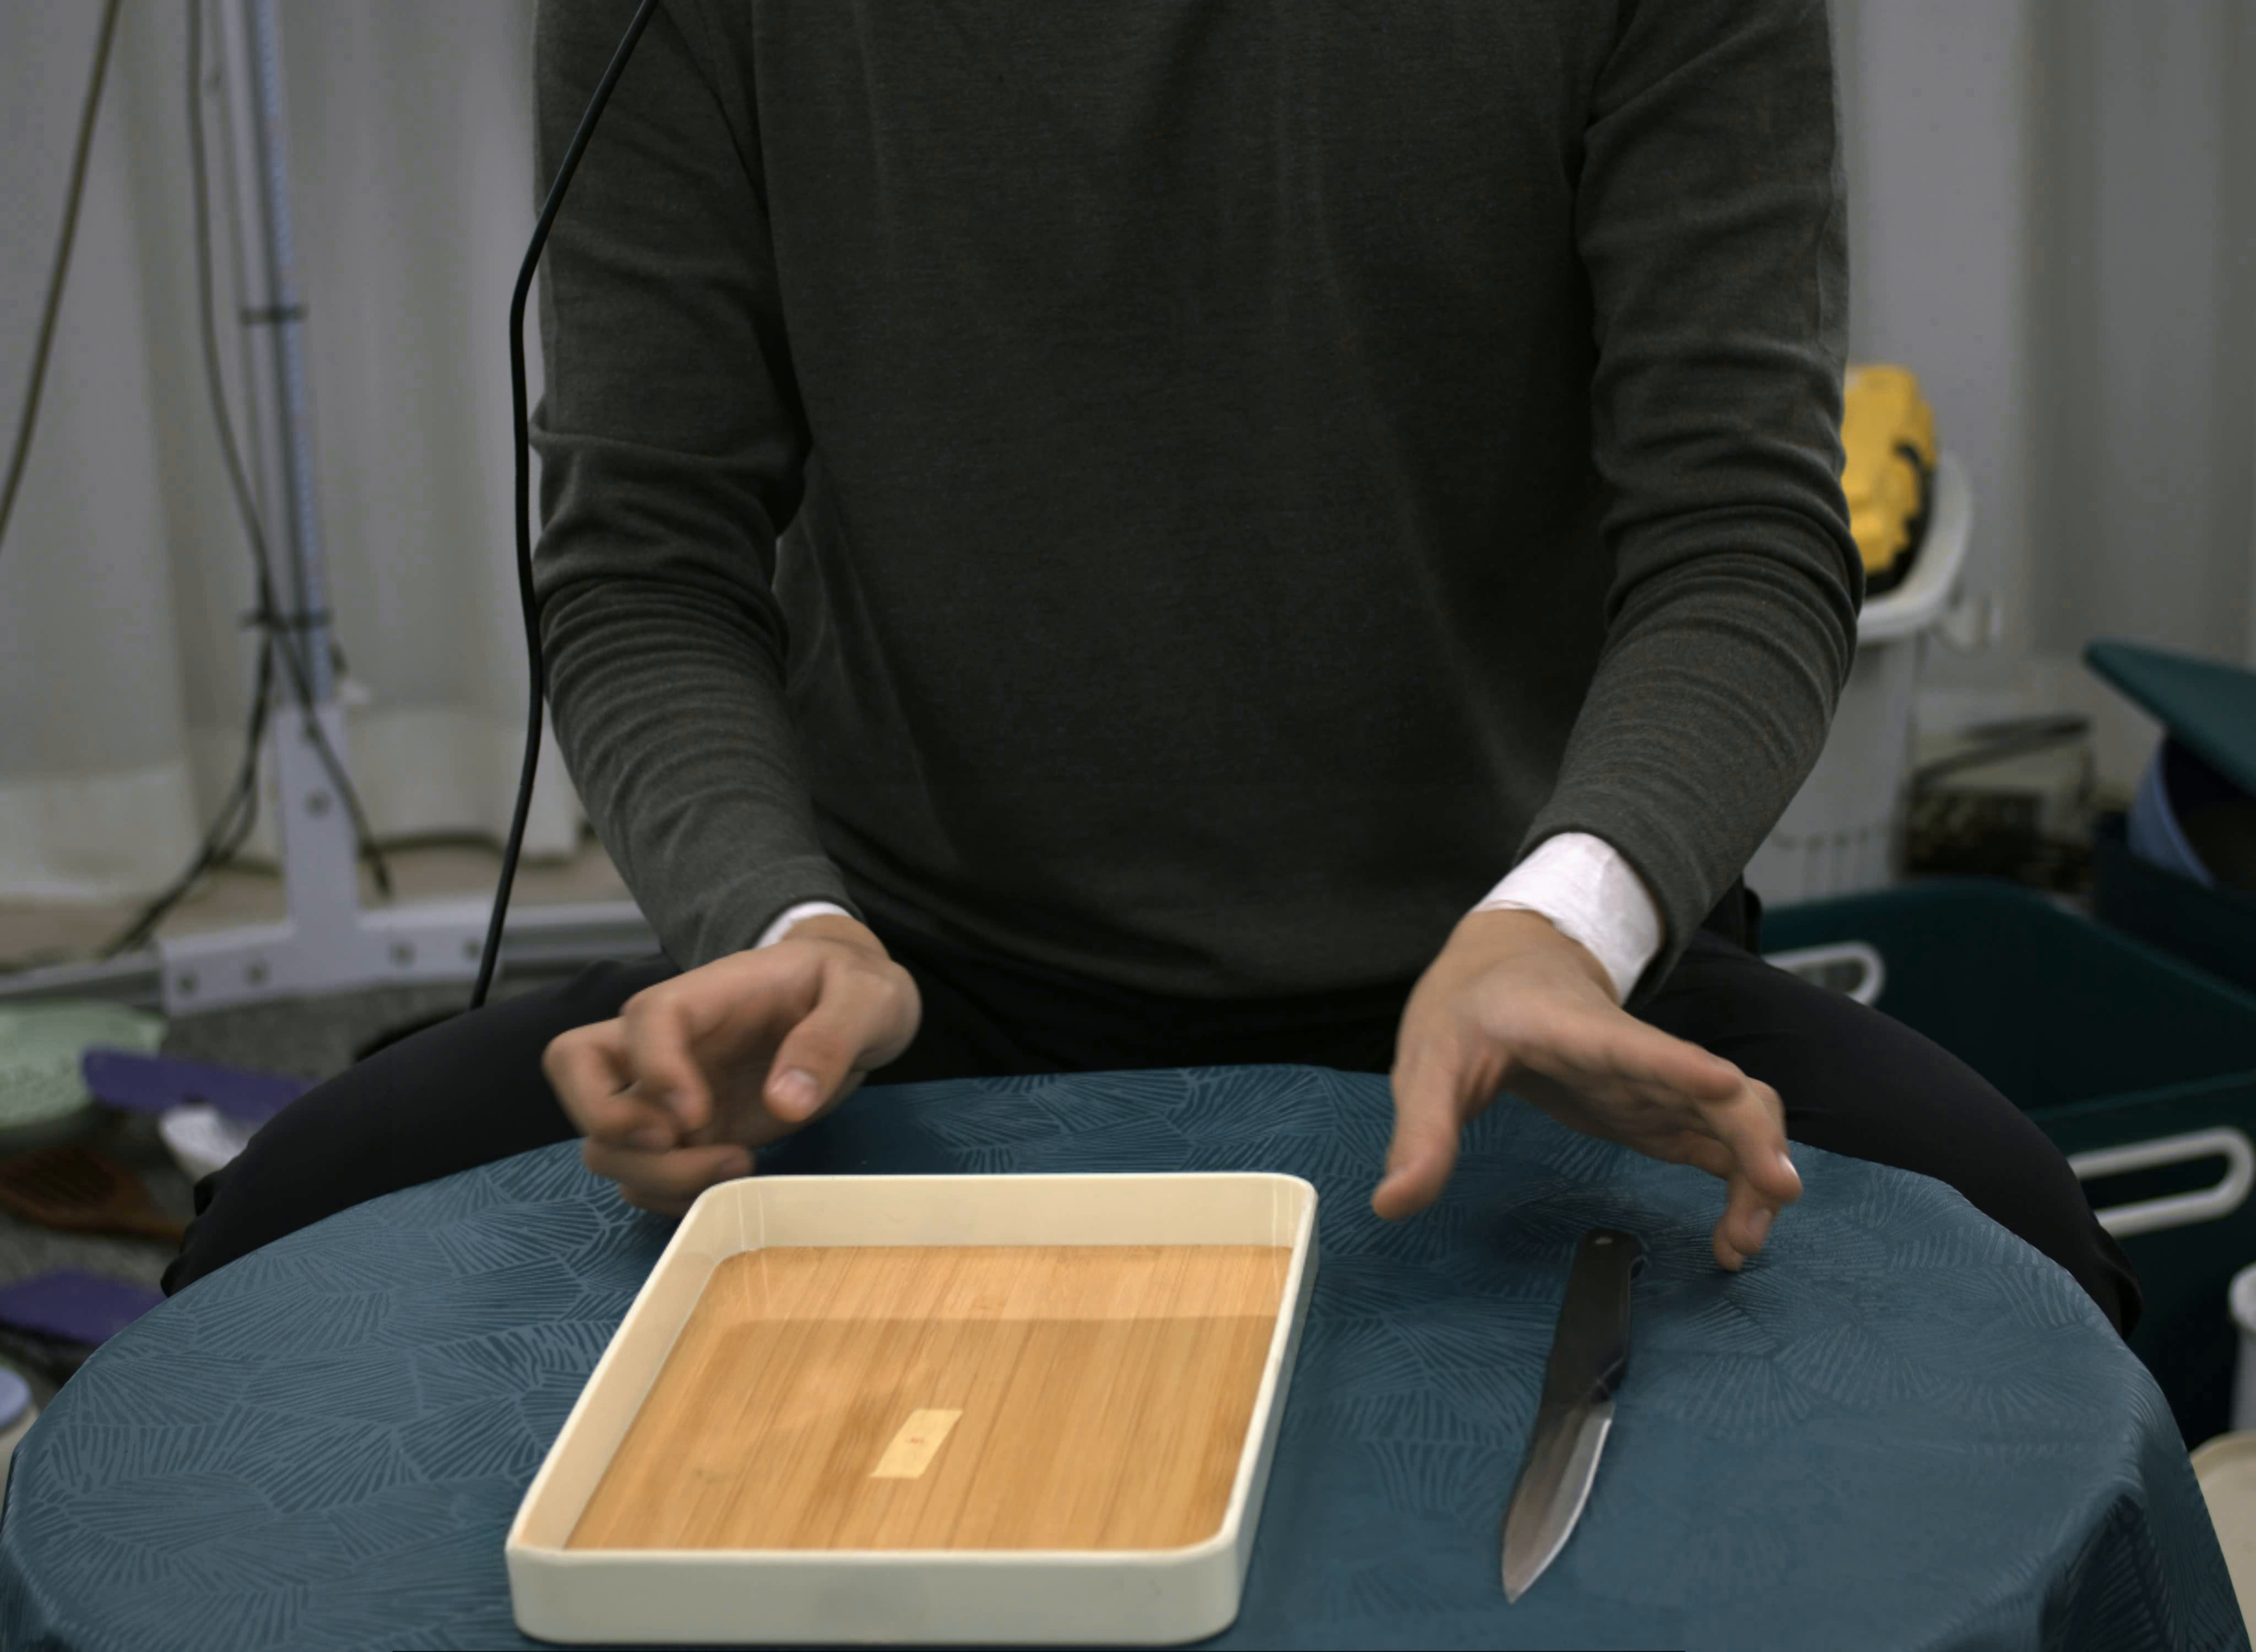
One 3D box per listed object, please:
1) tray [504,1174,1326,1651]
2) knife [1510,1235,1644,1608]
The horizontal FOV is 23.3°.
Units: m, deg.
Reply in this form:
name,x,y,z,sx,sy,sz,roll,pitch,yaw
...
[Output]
name,x,y,z,sx,sy,sz,roll,pitch,yaw
tray,-0.050,0.157,1.516,0.191,0.027,0.302,0,15,7
knife,0.121,0.162,1.495,0.024,0.016,0.239,-3,17,11
